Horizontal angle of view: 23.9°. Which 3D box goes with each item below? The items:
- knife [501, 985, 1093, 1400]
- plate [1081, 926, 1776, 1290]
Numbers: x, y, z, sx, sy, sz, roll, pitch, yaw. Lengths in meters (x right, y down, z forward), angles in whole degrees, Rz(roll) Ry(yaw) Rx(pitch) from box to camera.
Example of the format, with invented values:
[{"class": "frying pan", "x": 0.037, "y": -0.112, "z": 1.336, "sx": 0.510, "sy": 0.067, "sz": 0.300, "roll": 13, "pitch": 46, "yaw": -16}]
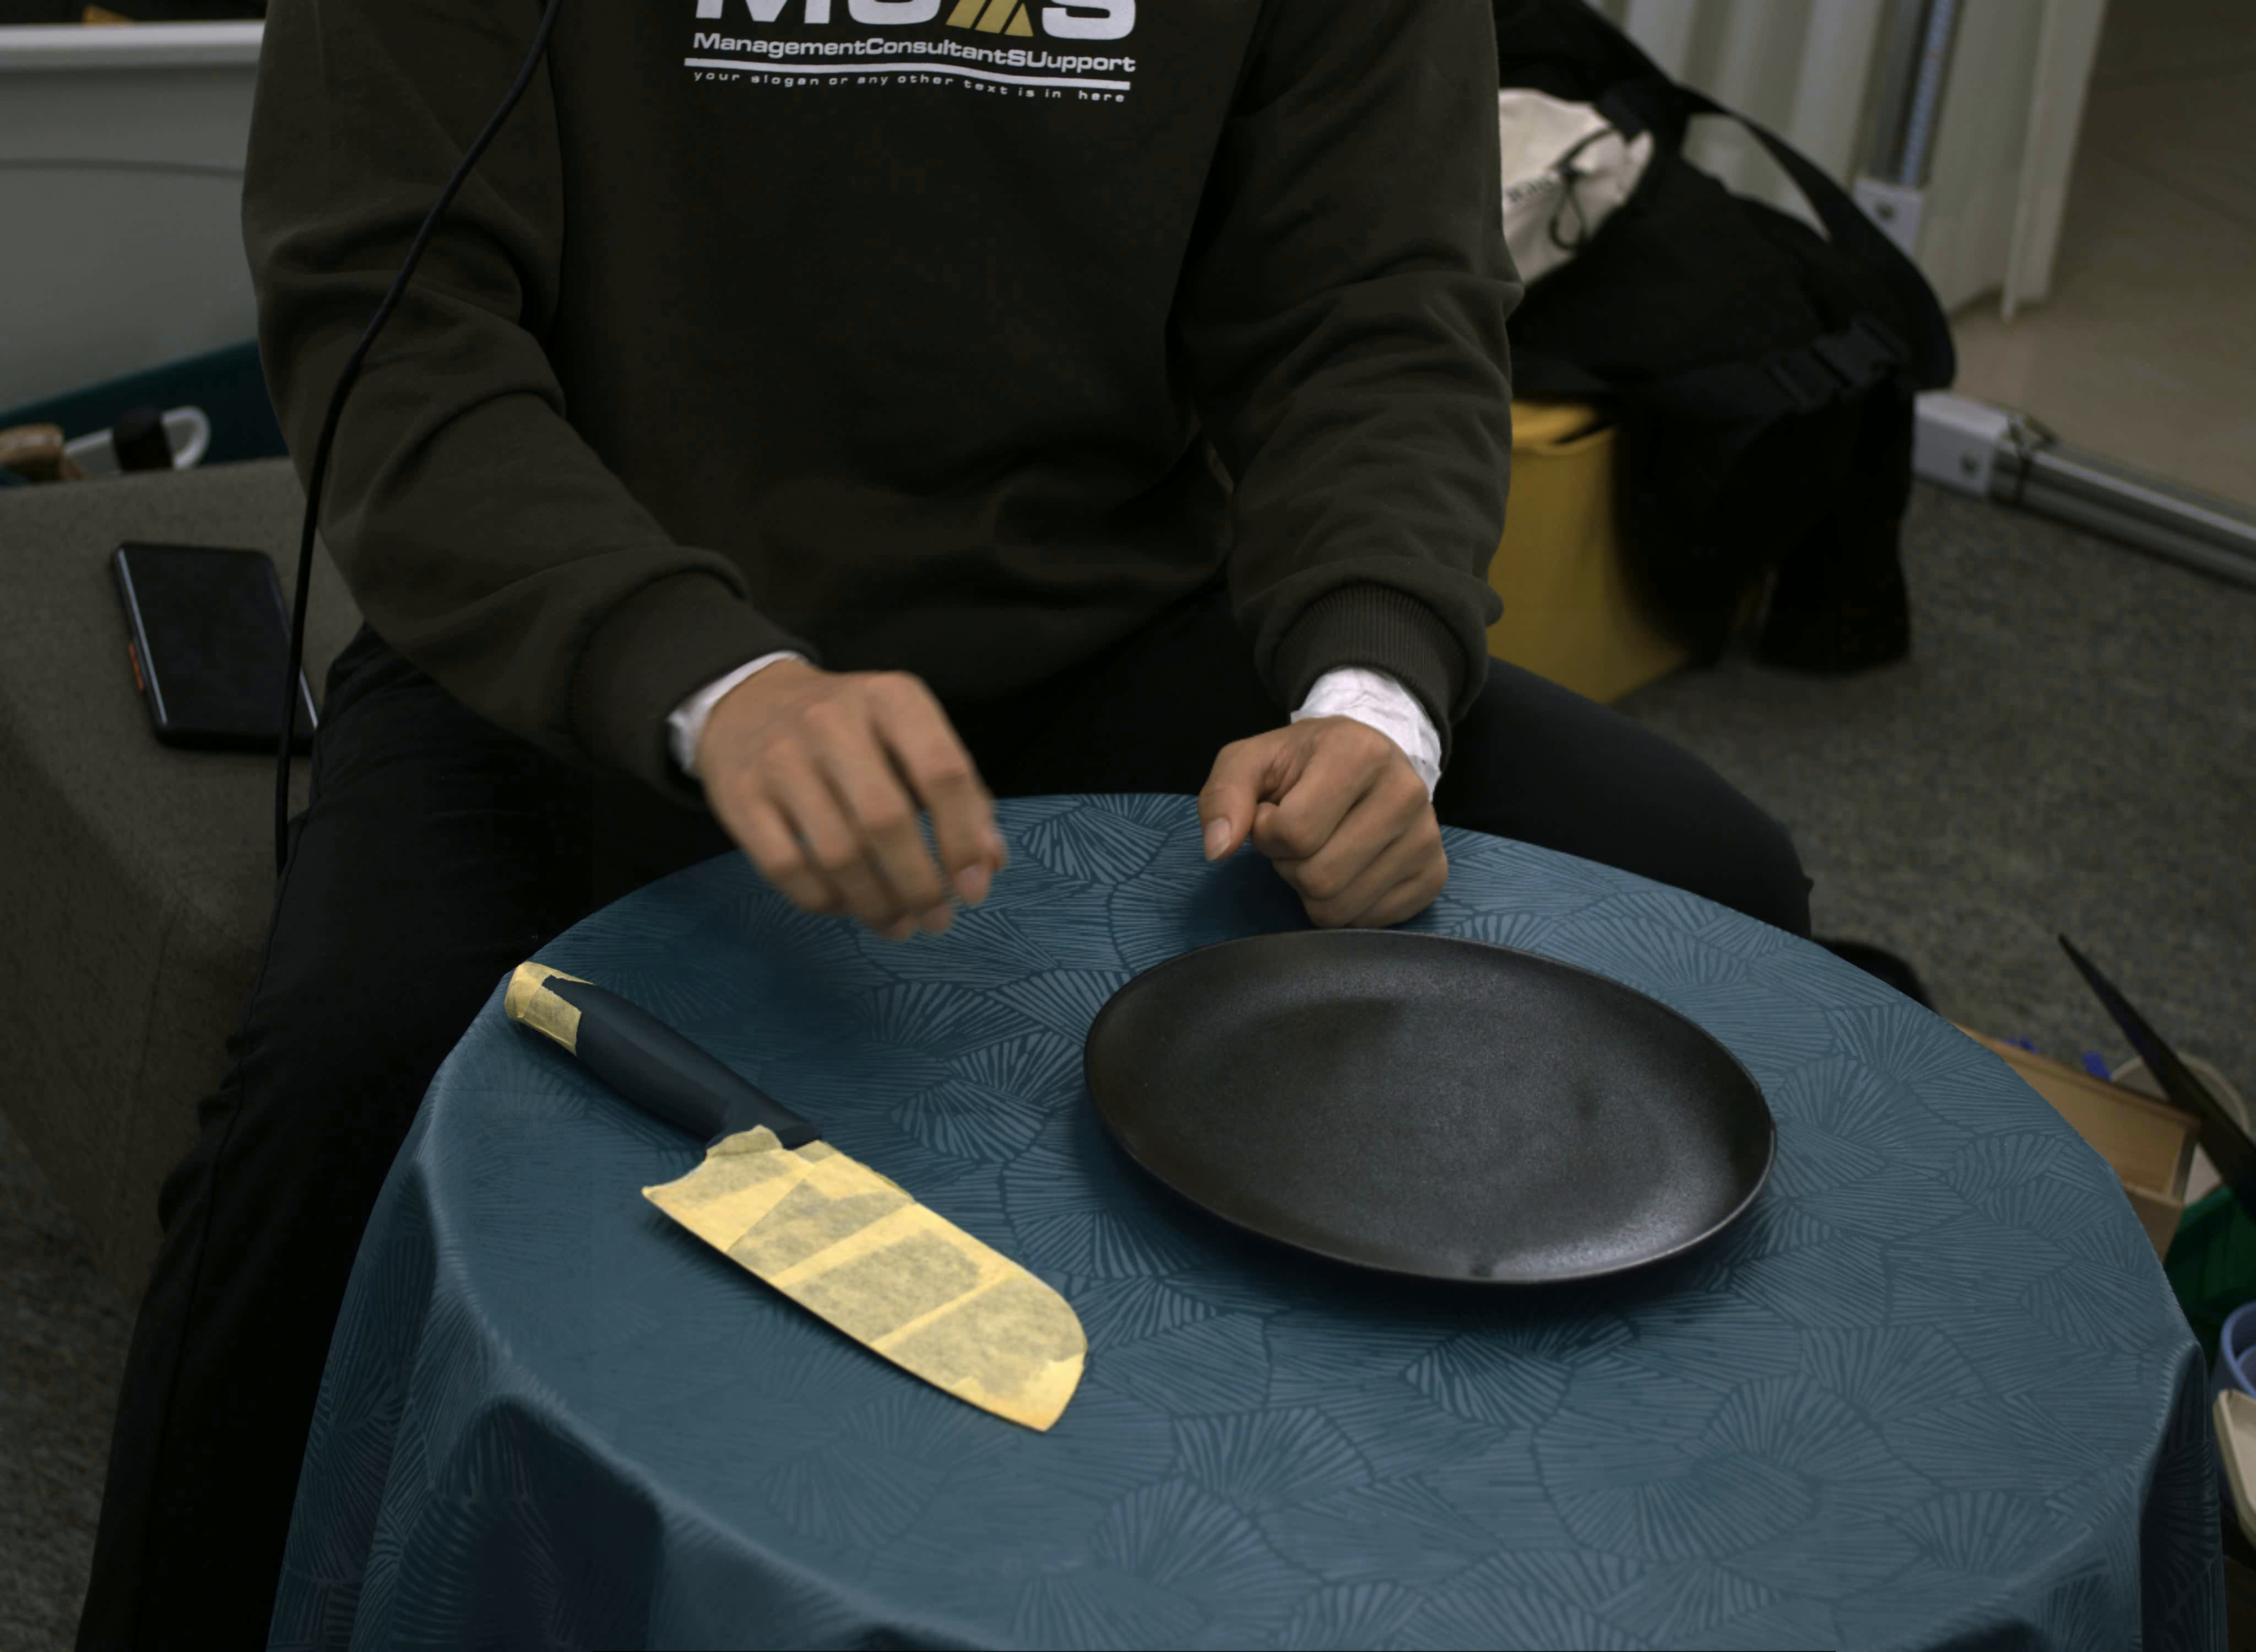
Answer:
[{"class": "knife", "x": -0.119, "y": 0.122, "z": 1.765, "sx": 0.292, "sy": 0.027, "sz": 0.080, "roll": 30, "pitch": 33, "yaw": 36}, {"class": "plate", "x": 0.103, "y": 0.102, "z": 1.847, "sx": 0.243, "sy": 0.023, "sz": 0.246, "roll": 5, "pitch": 27, "yaw": -3}]
